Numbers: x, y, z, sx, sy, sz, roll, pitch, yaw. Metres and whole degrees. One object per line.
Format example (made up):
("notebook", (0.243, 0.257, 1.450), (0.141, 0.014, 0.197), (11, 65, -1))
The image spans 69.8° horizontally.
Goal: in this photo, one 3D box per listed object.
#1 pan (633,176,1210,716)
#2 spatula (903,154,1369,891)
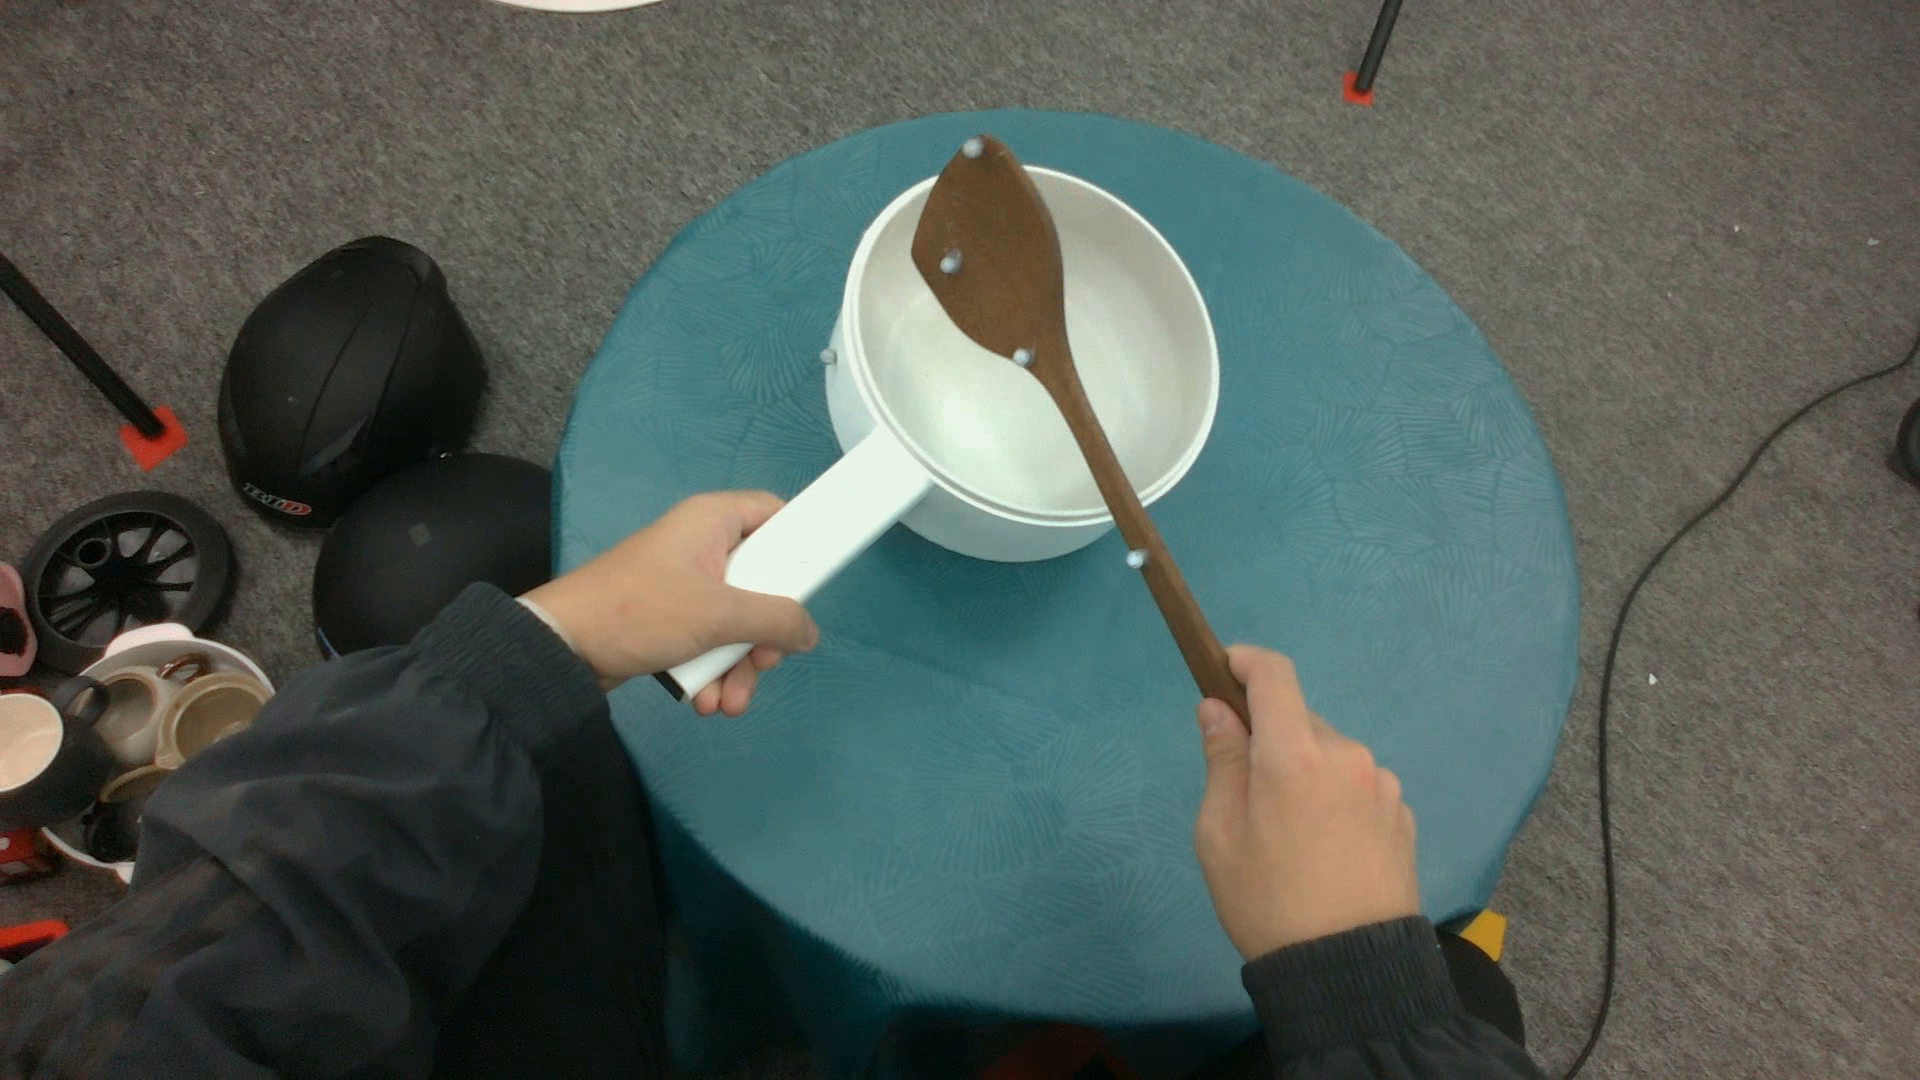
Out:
("pan", (-0.025, -0.037, 0.720), (0.201, 0.101, 0.356), (45, 66, 2))
("spatula", (0.076, -0.012, 0.635), (0.016, 0.095, 0.386), (-19, 71, -33))
